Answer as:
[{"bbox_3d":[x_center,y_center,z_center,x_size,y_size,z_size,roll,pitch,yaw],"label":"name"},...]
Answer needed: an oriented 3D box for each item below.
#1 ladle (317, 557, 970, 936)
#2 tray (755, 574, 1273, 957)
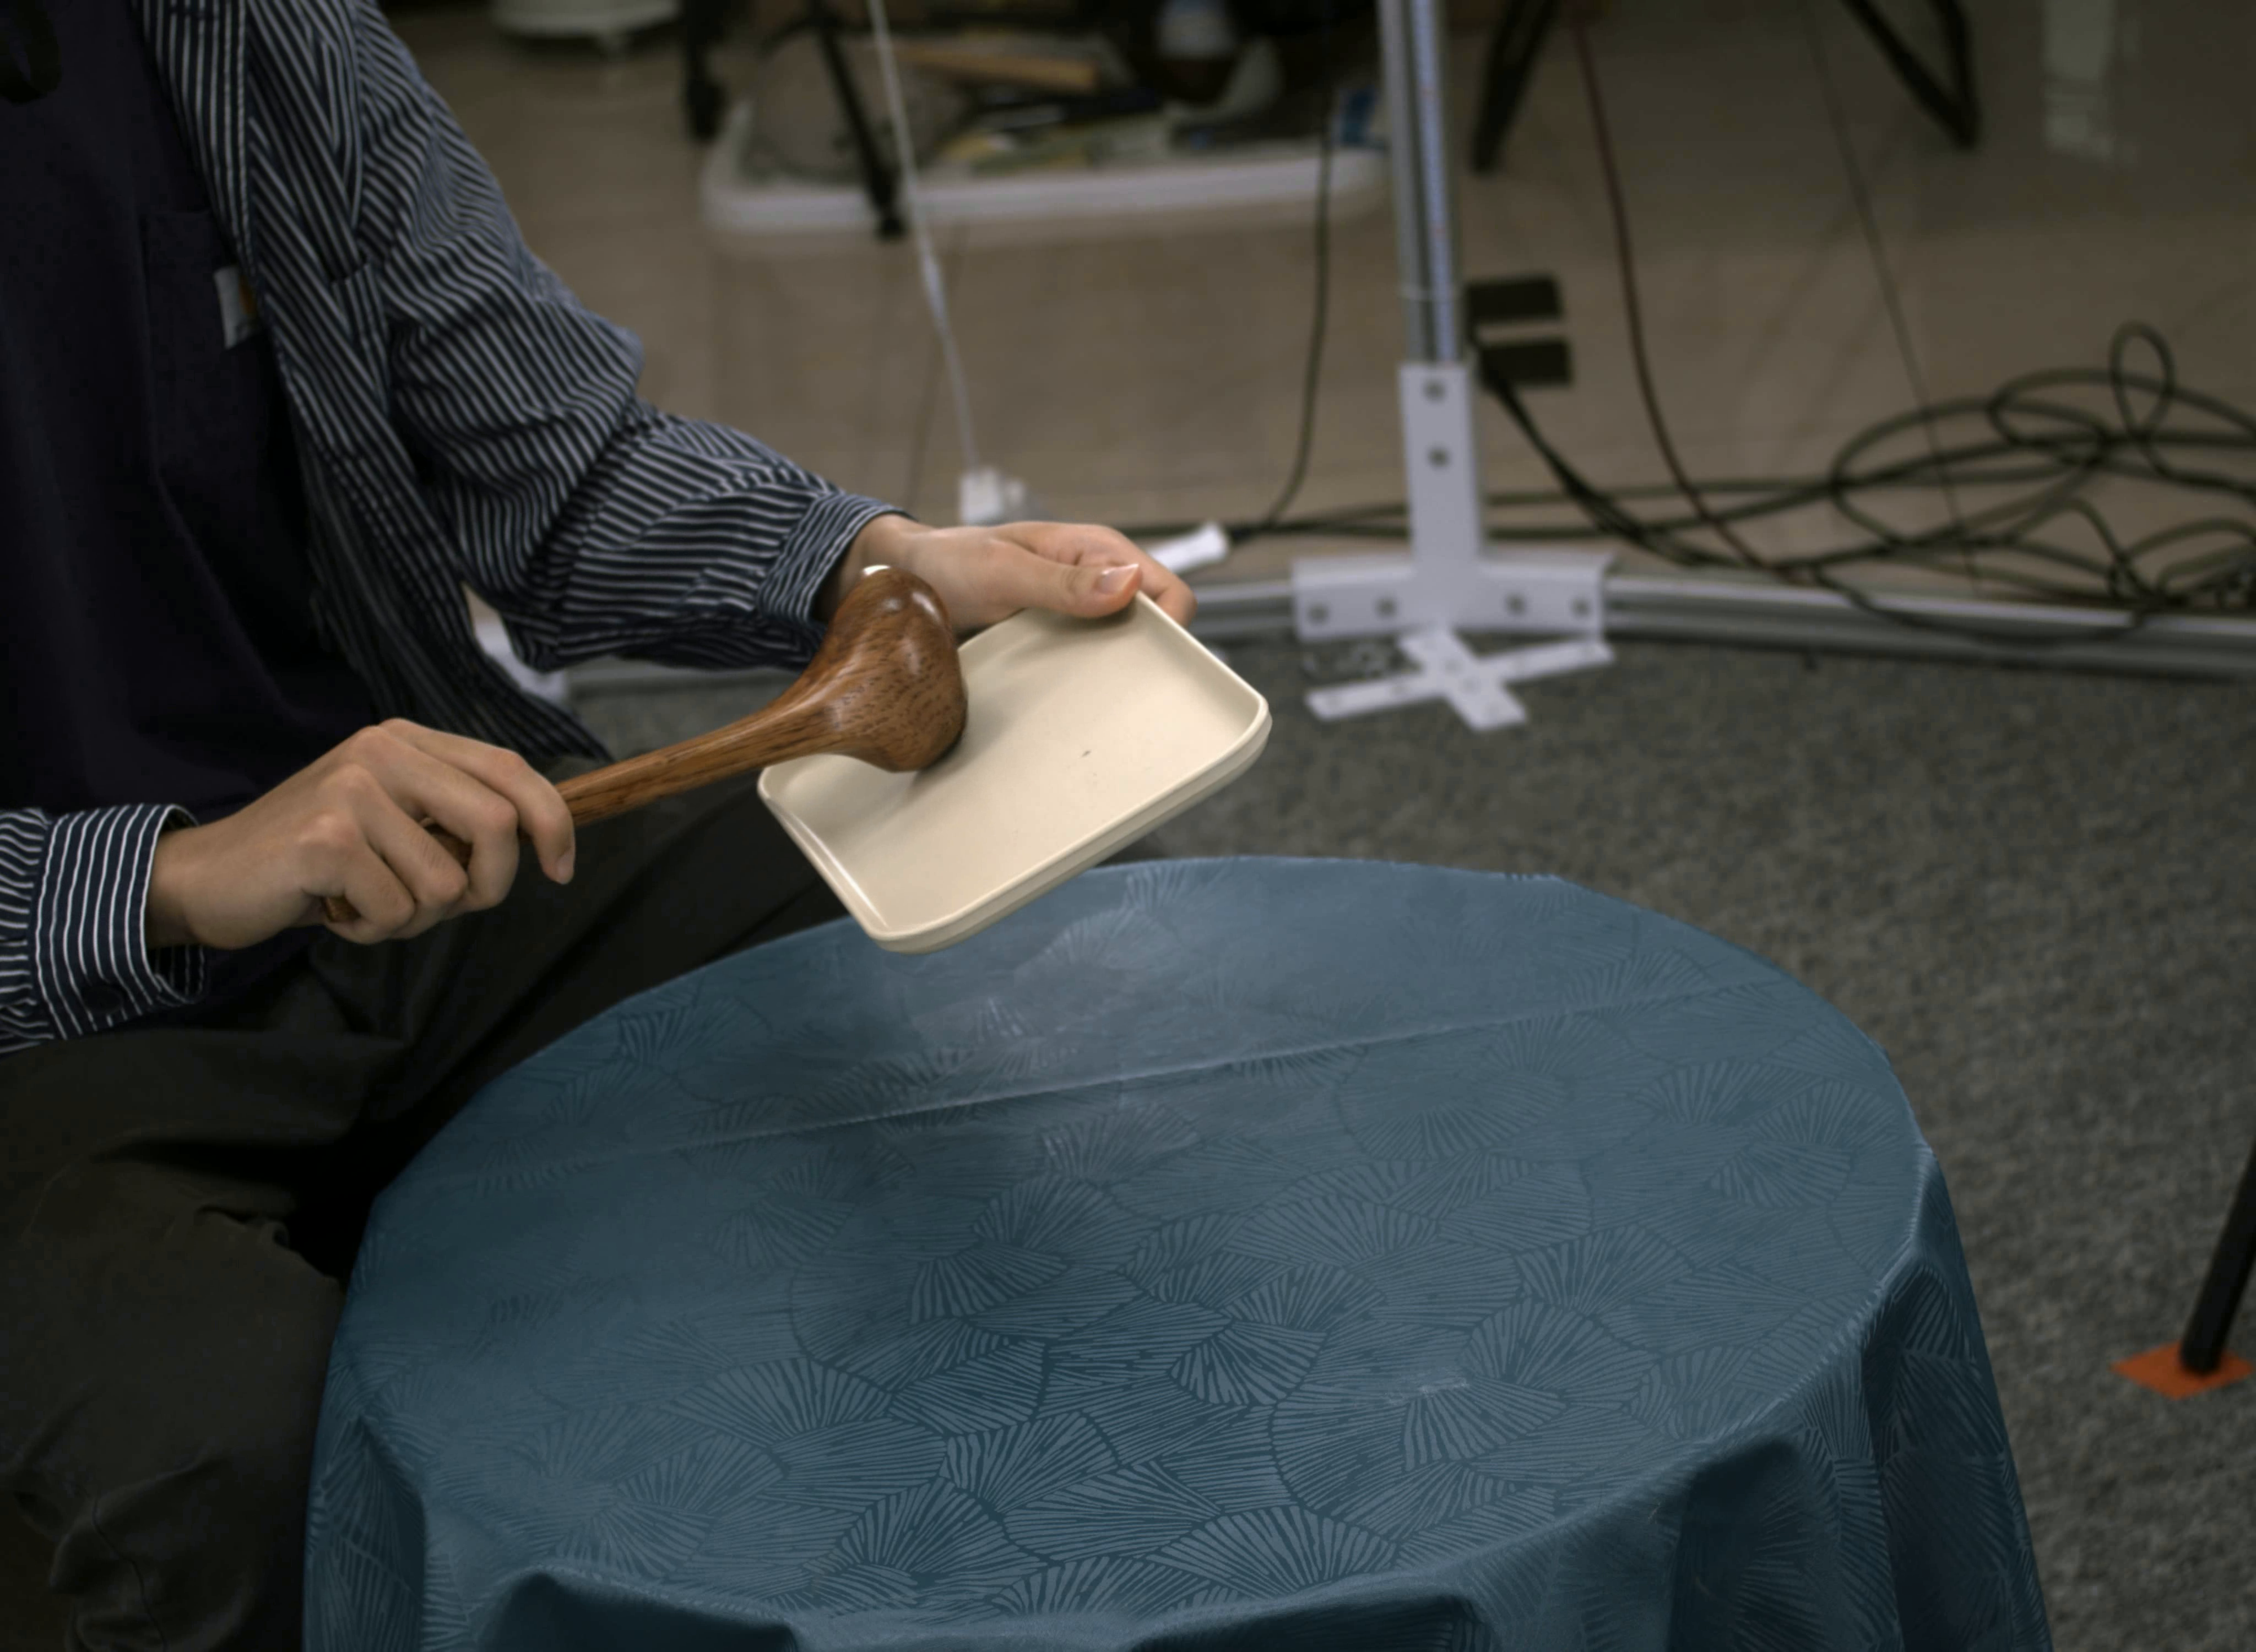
[{"bbox_3d":[-0.185,-0.026,2.161,0.273,0.082,0.076,-22,13,-11],"label":"ladle"},{"bbox_3d":[-0.044,-0.024,2.146,0.171,0.018,0.237,-31,23,-5],"label":"tray"}]
